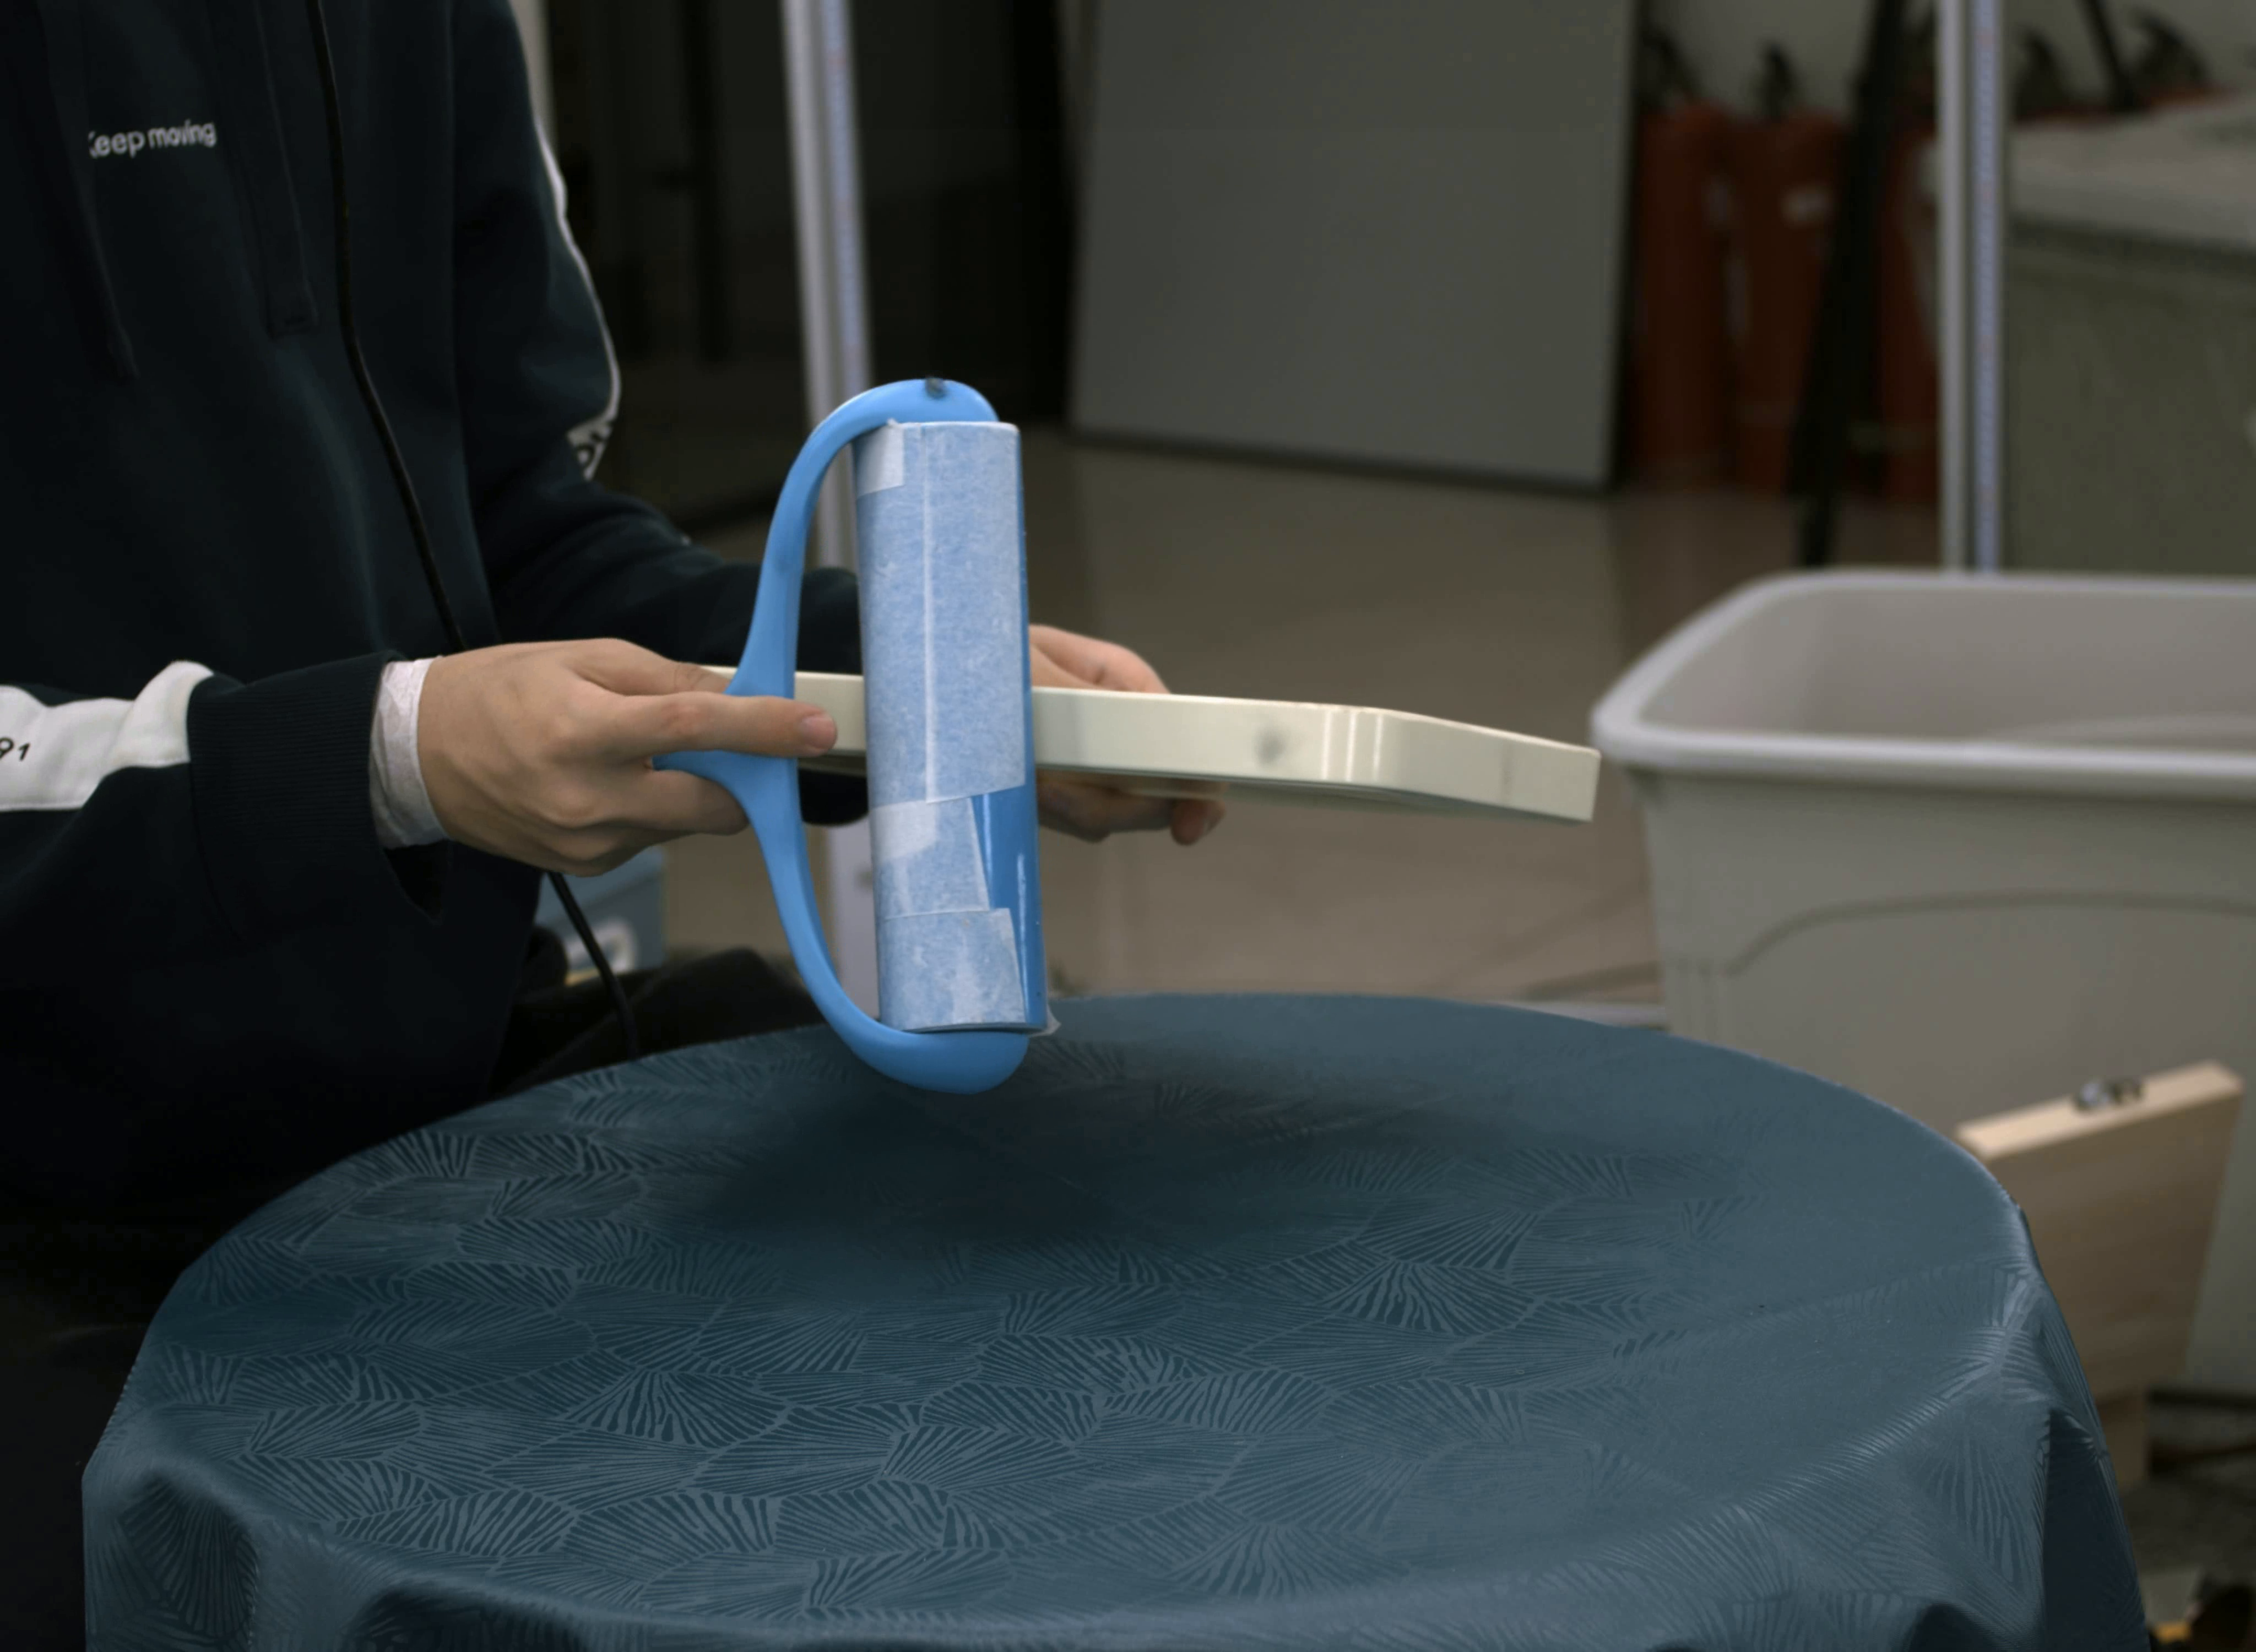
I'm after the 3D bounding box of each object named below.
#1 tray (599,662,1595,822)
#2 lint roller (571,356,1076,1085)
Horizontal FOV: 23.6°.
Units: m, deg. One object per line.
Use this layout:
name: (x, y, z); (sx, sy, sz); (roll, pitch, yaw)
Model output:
tray: (-0.010, -0.027, 1.814); (0.301, 0.028, 0.188); (3, -3, 30)
lint roller: (-0.106, -0.024, 1.718); (0.180, 0.232, 0.067); (-10, -8, 19)
